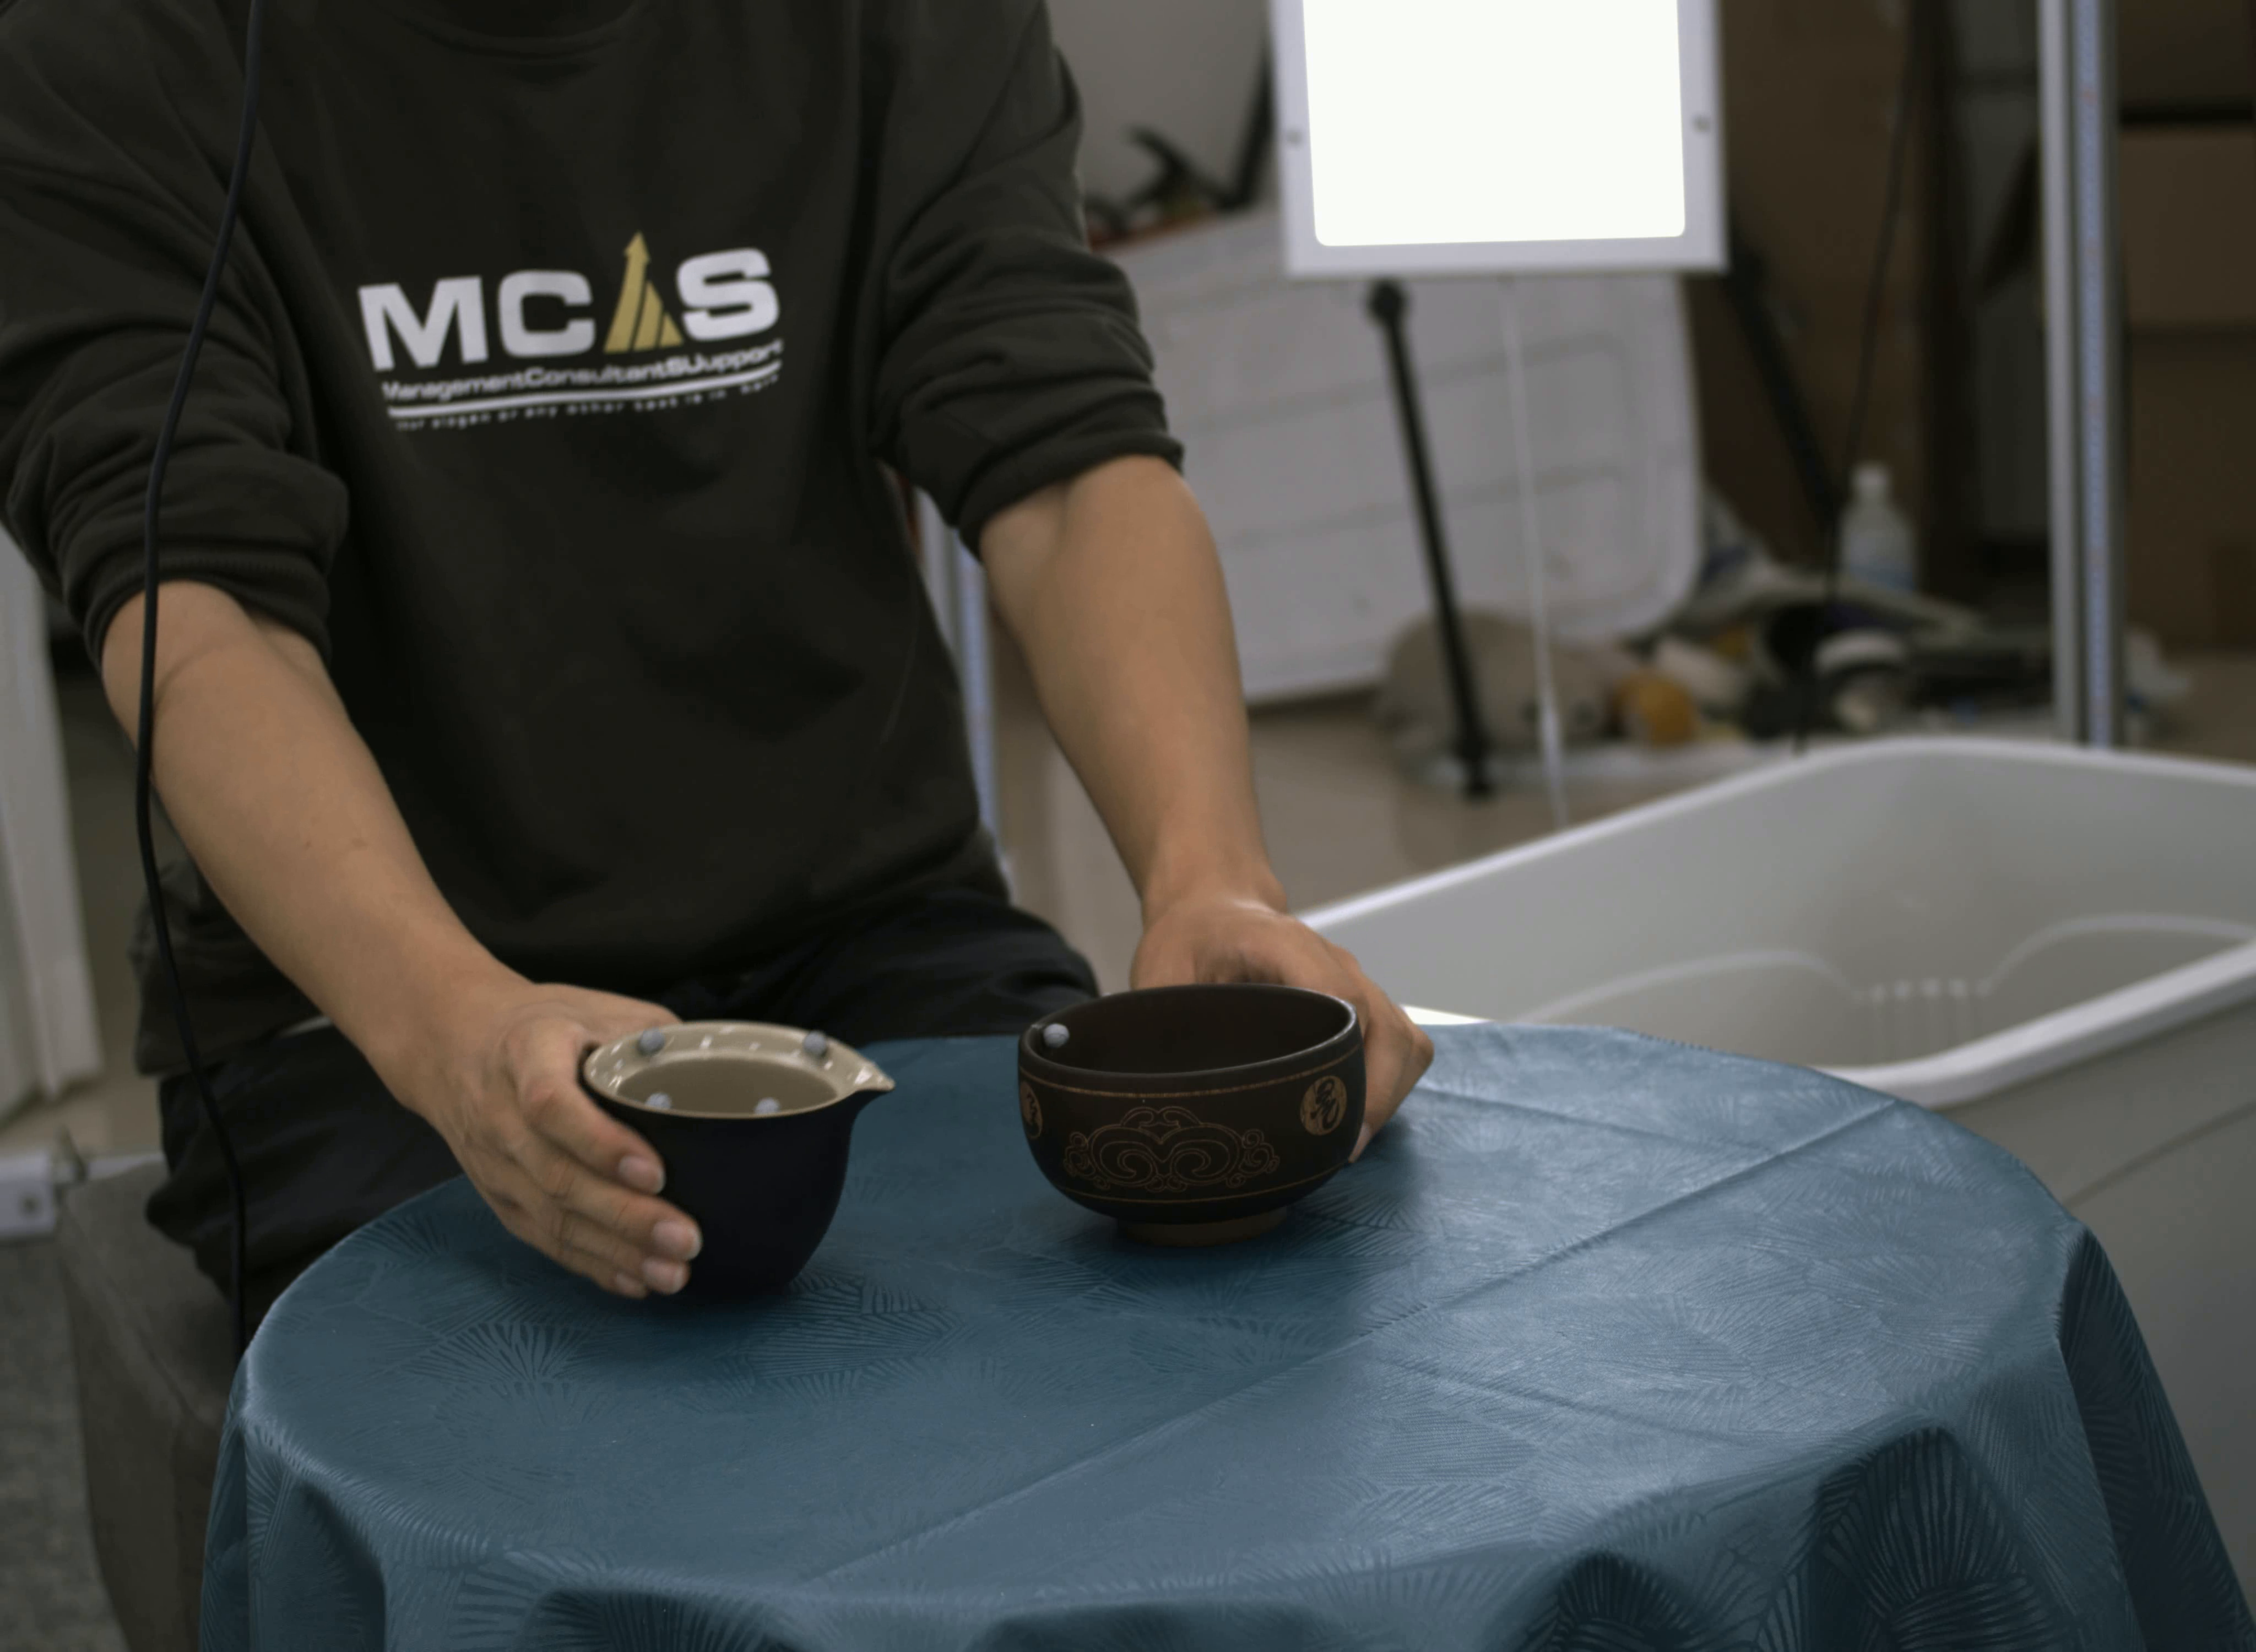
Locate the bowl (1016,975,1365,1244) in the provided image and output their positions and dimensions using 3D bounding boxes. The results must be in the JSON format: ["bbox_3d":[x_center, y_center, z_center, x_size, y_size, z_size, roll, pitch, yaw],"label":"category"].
[{"bbox_3d":[0.022,0.099,1.854,0.118,0.070,0.118,-5,16,0],"label":"bowl"}]

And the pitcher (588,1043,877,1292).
[{"bbox_3d":[-0.131,0.112,1.819,0.096,0.072,0.083,4,15,9],"label":"pitcher"}]
